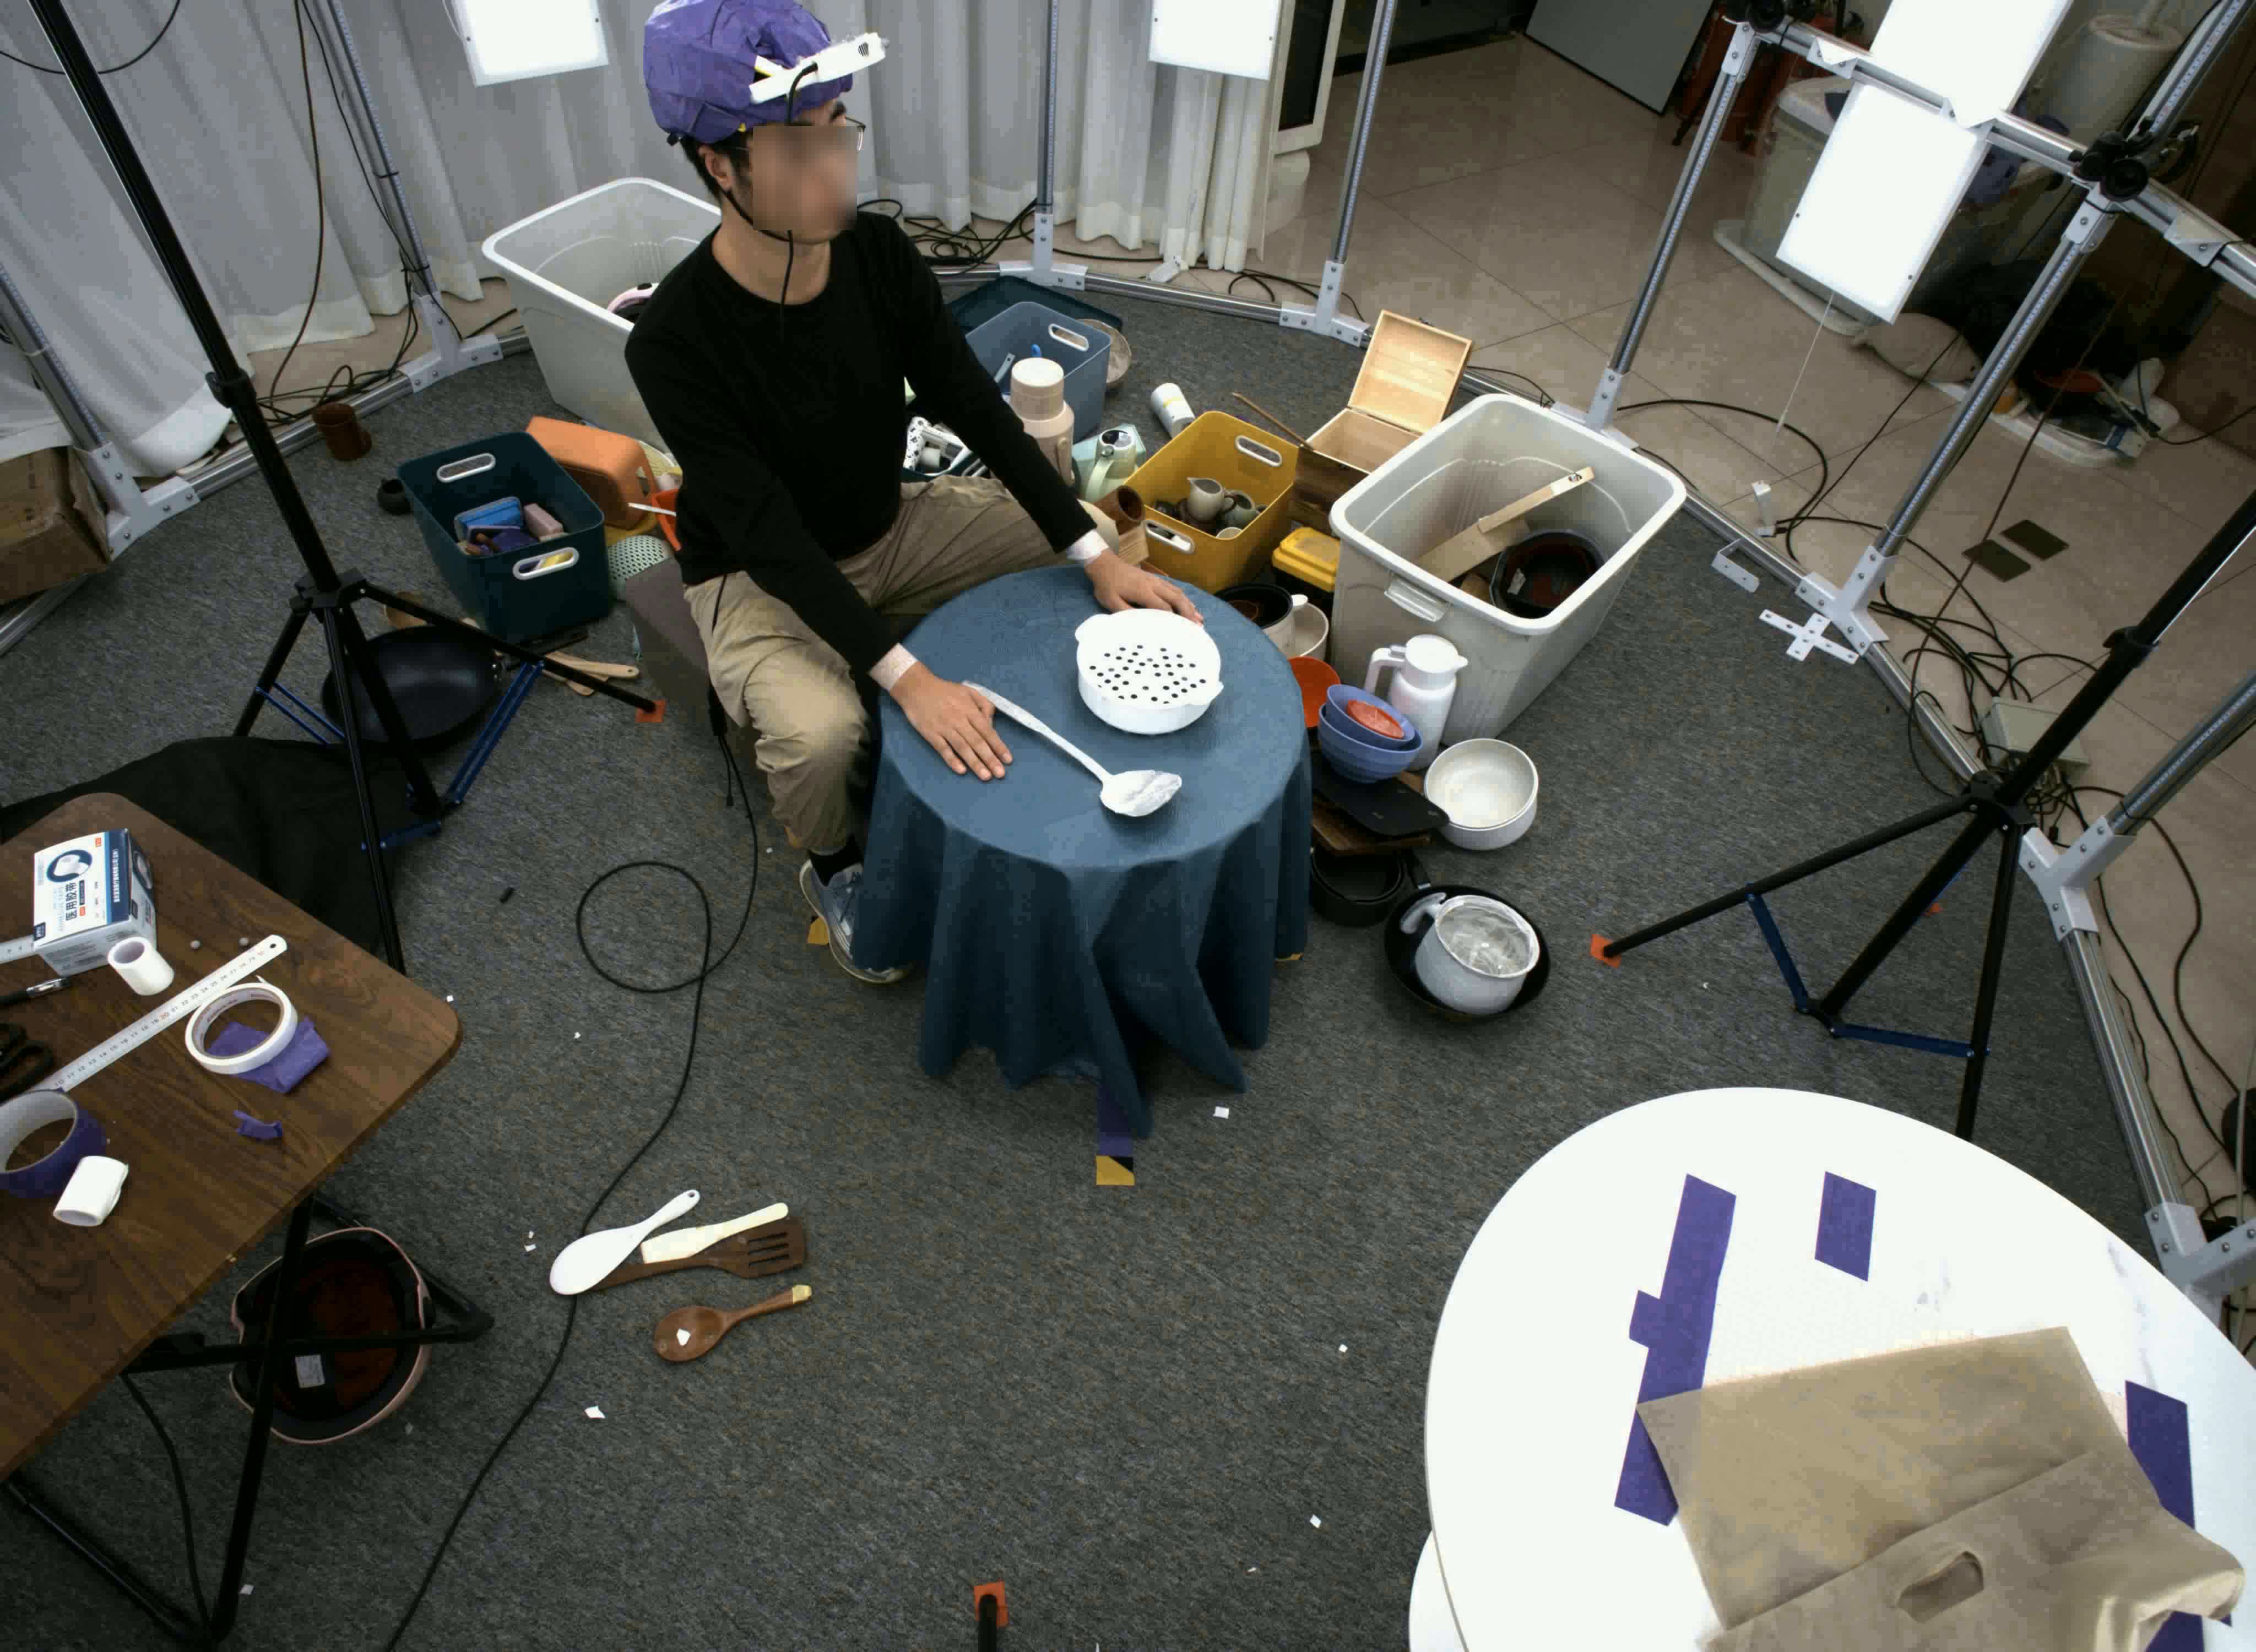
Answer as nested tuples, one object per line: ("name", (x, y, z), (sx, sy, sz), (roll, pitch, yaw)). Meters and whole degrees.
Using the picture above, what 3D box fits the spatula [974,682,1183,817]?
("spatula", (-0.086, -0.116, 1.741), (0.370, 0.044, 0.100), (35, 58, 24))

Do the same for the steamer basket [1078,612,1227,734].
("steamer basket", (0.031, -0.215, 1.814), (0.233, 0.067, 0.204), (31, 53, 23))
